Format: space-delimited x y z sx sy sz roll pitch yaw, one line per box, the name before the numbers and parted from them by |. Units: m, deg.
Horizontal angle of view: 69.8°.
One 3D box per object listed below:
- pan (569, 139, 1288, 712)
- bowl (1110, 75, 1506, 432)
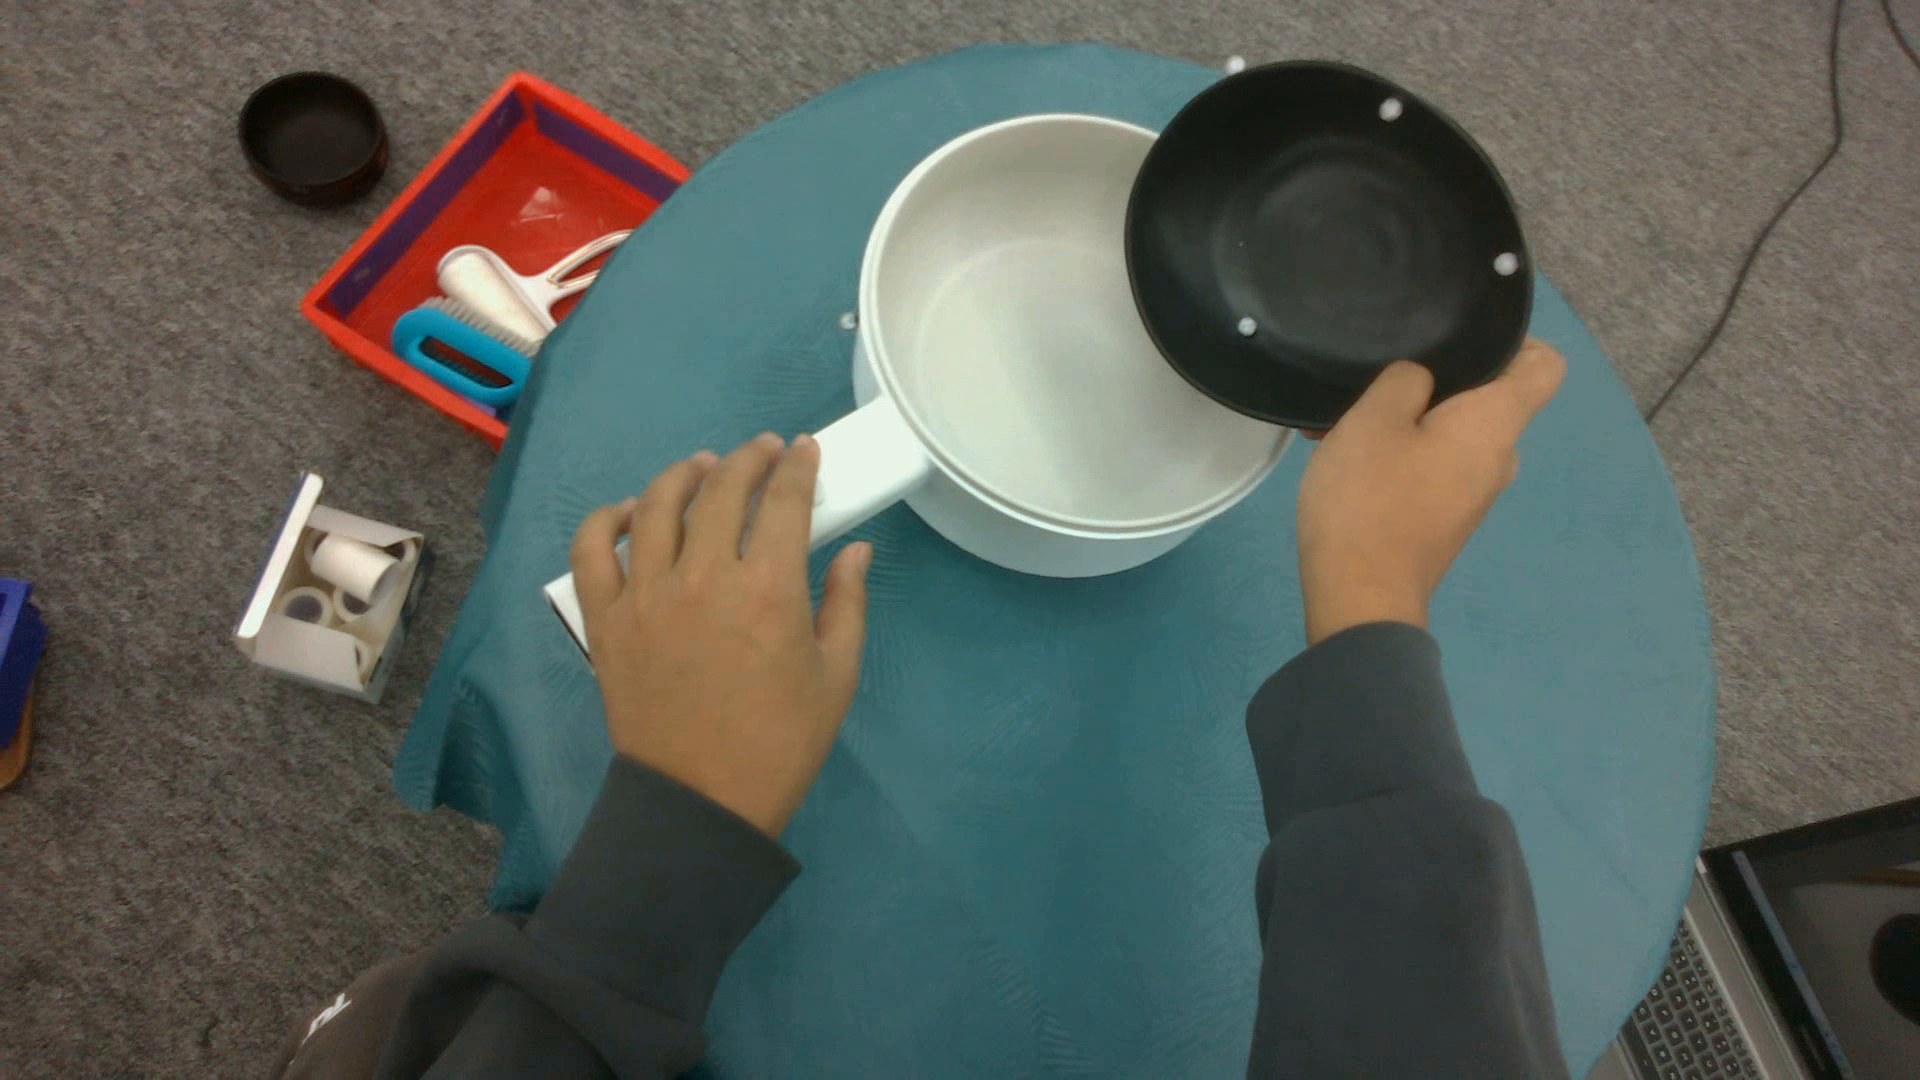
pan | -0.012 -0.035 0.633 0.356 0.102 0.201 -36 84 -17
bowl | 0.148 -0.118 0.573 0.170 0.137 0.067 27 27 29
